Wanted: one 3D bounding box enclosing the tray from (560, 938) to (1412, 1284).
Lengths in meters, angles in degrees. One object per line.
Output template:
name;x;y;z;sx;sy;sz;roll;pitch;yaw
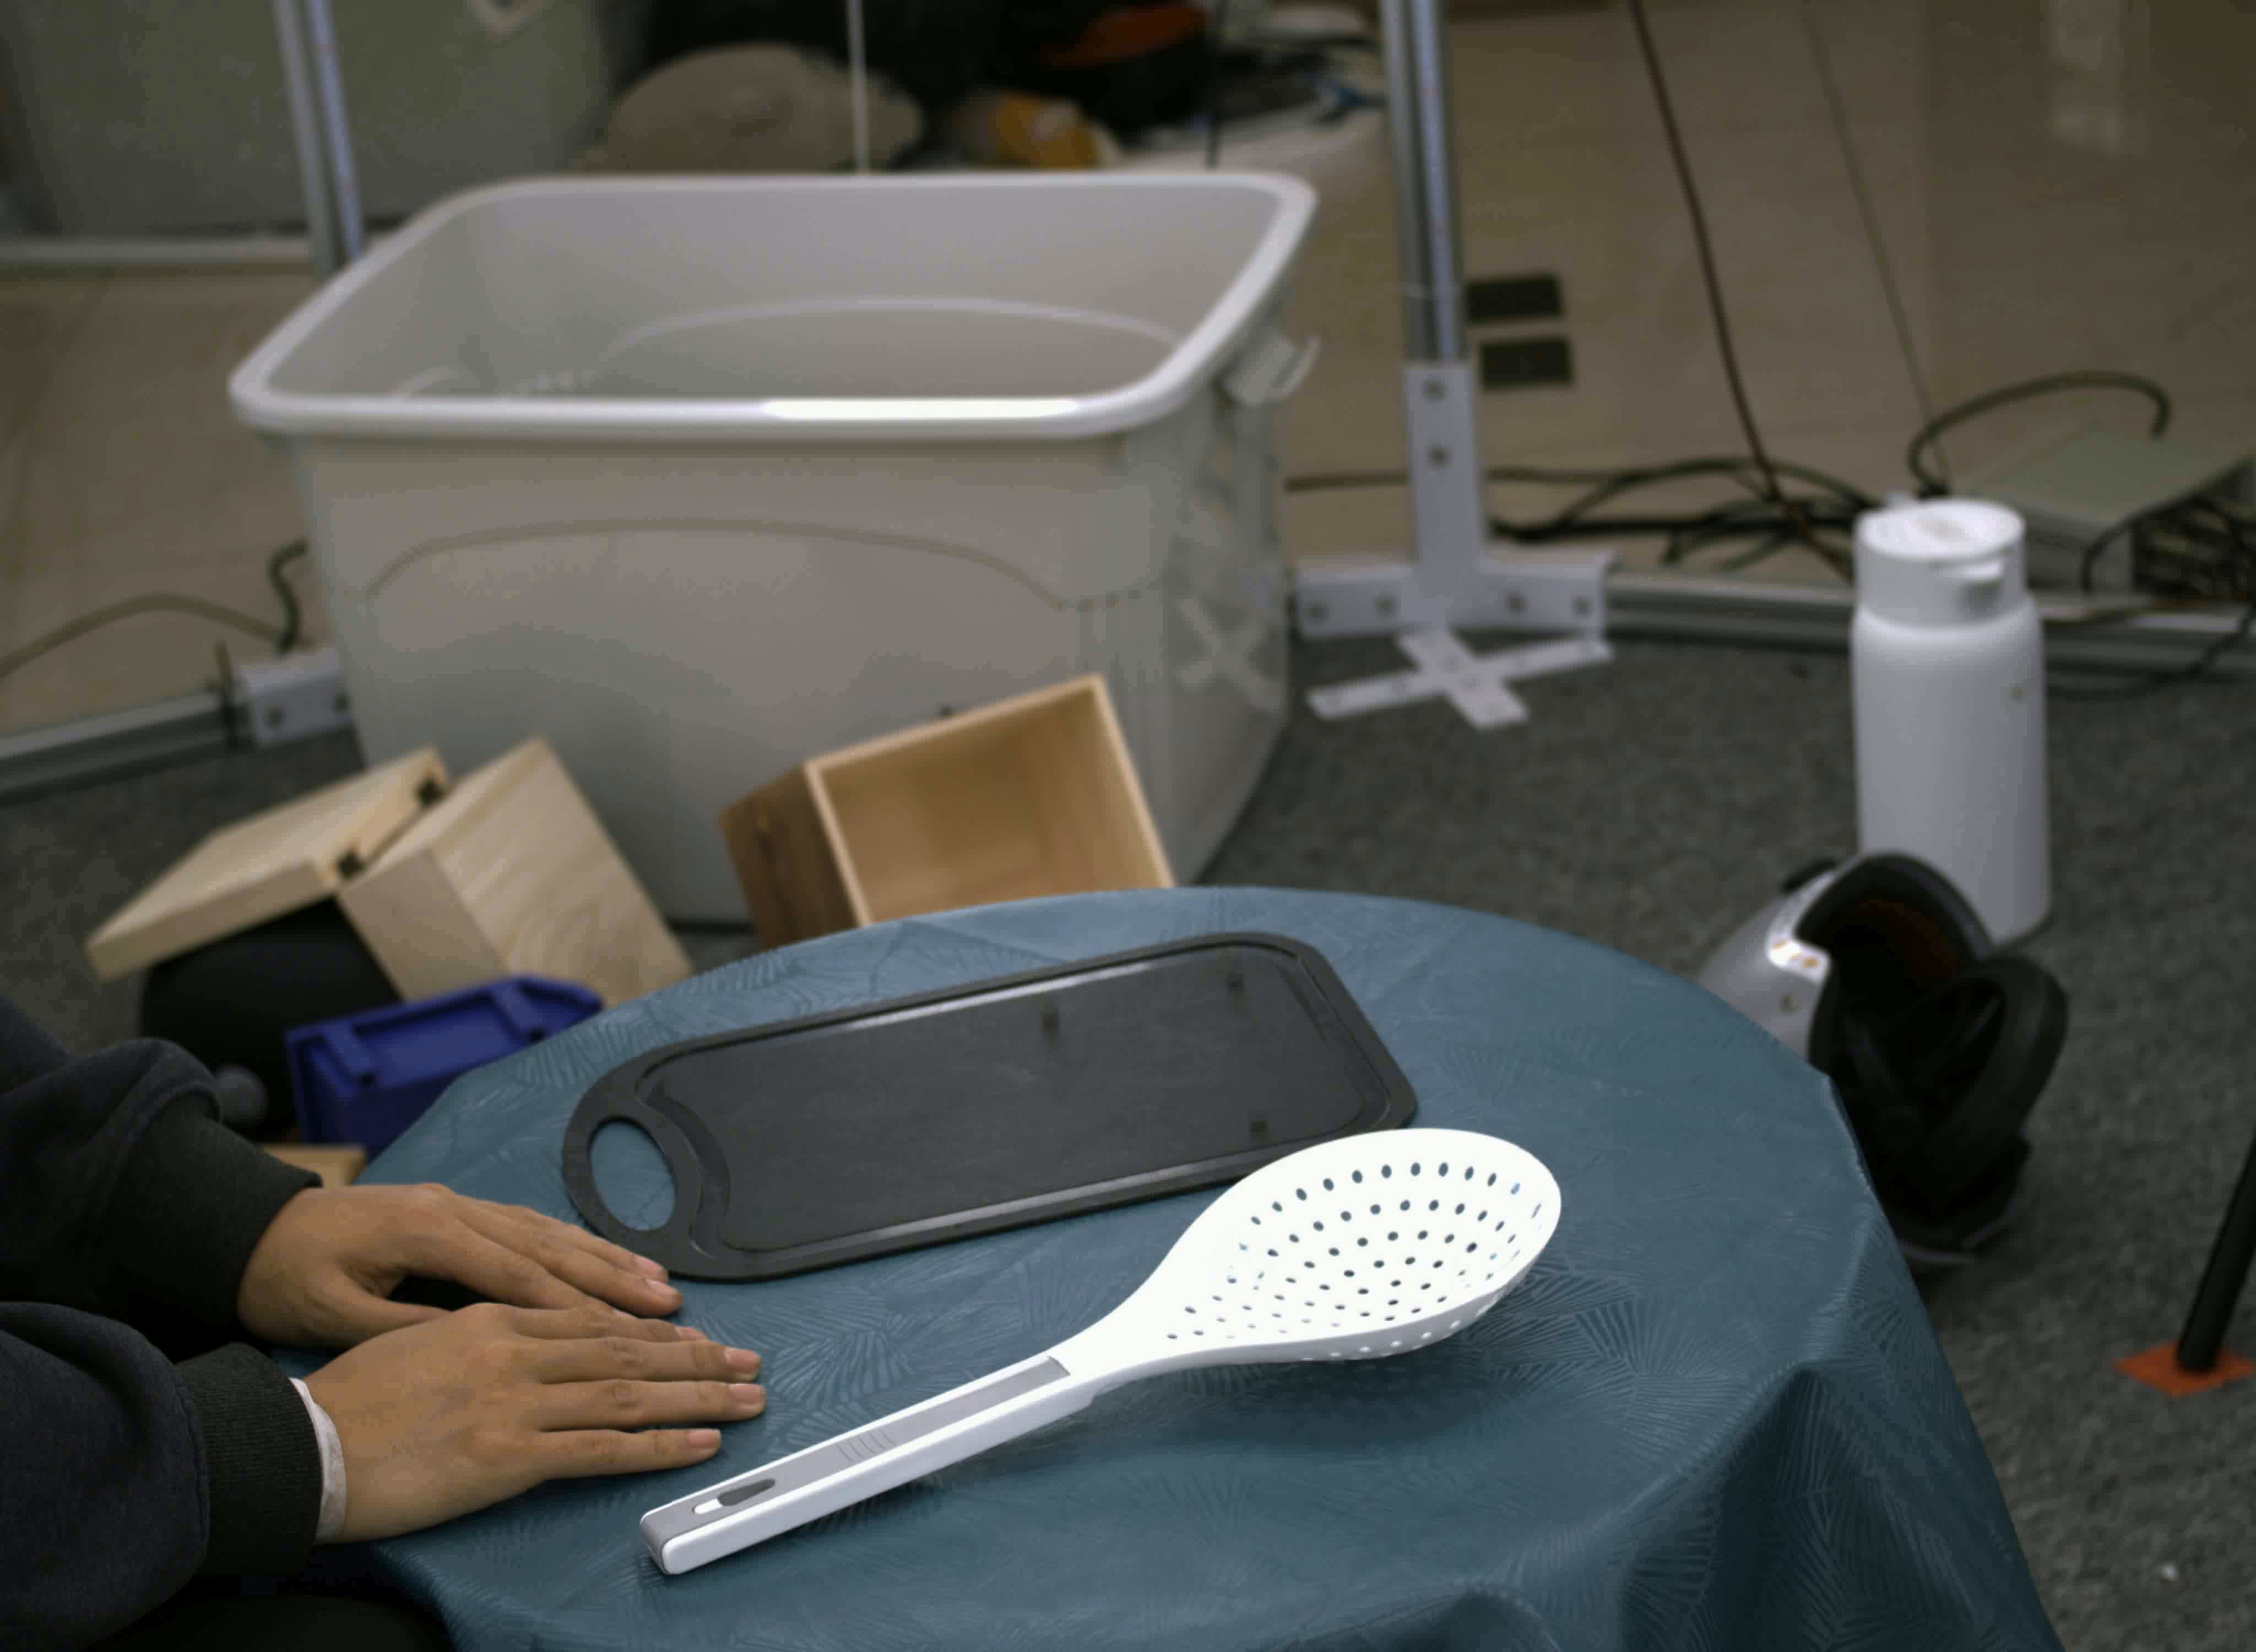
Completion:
tray;-0.061;0.109;2.219;0.324;0.010;0.208;-11;25;-10

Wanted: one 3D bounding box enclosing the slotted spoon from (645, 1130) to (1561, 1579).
slotted spoon;-0.007;0.187;1.989;0.348;0.046;0.134;-17;25;-20
